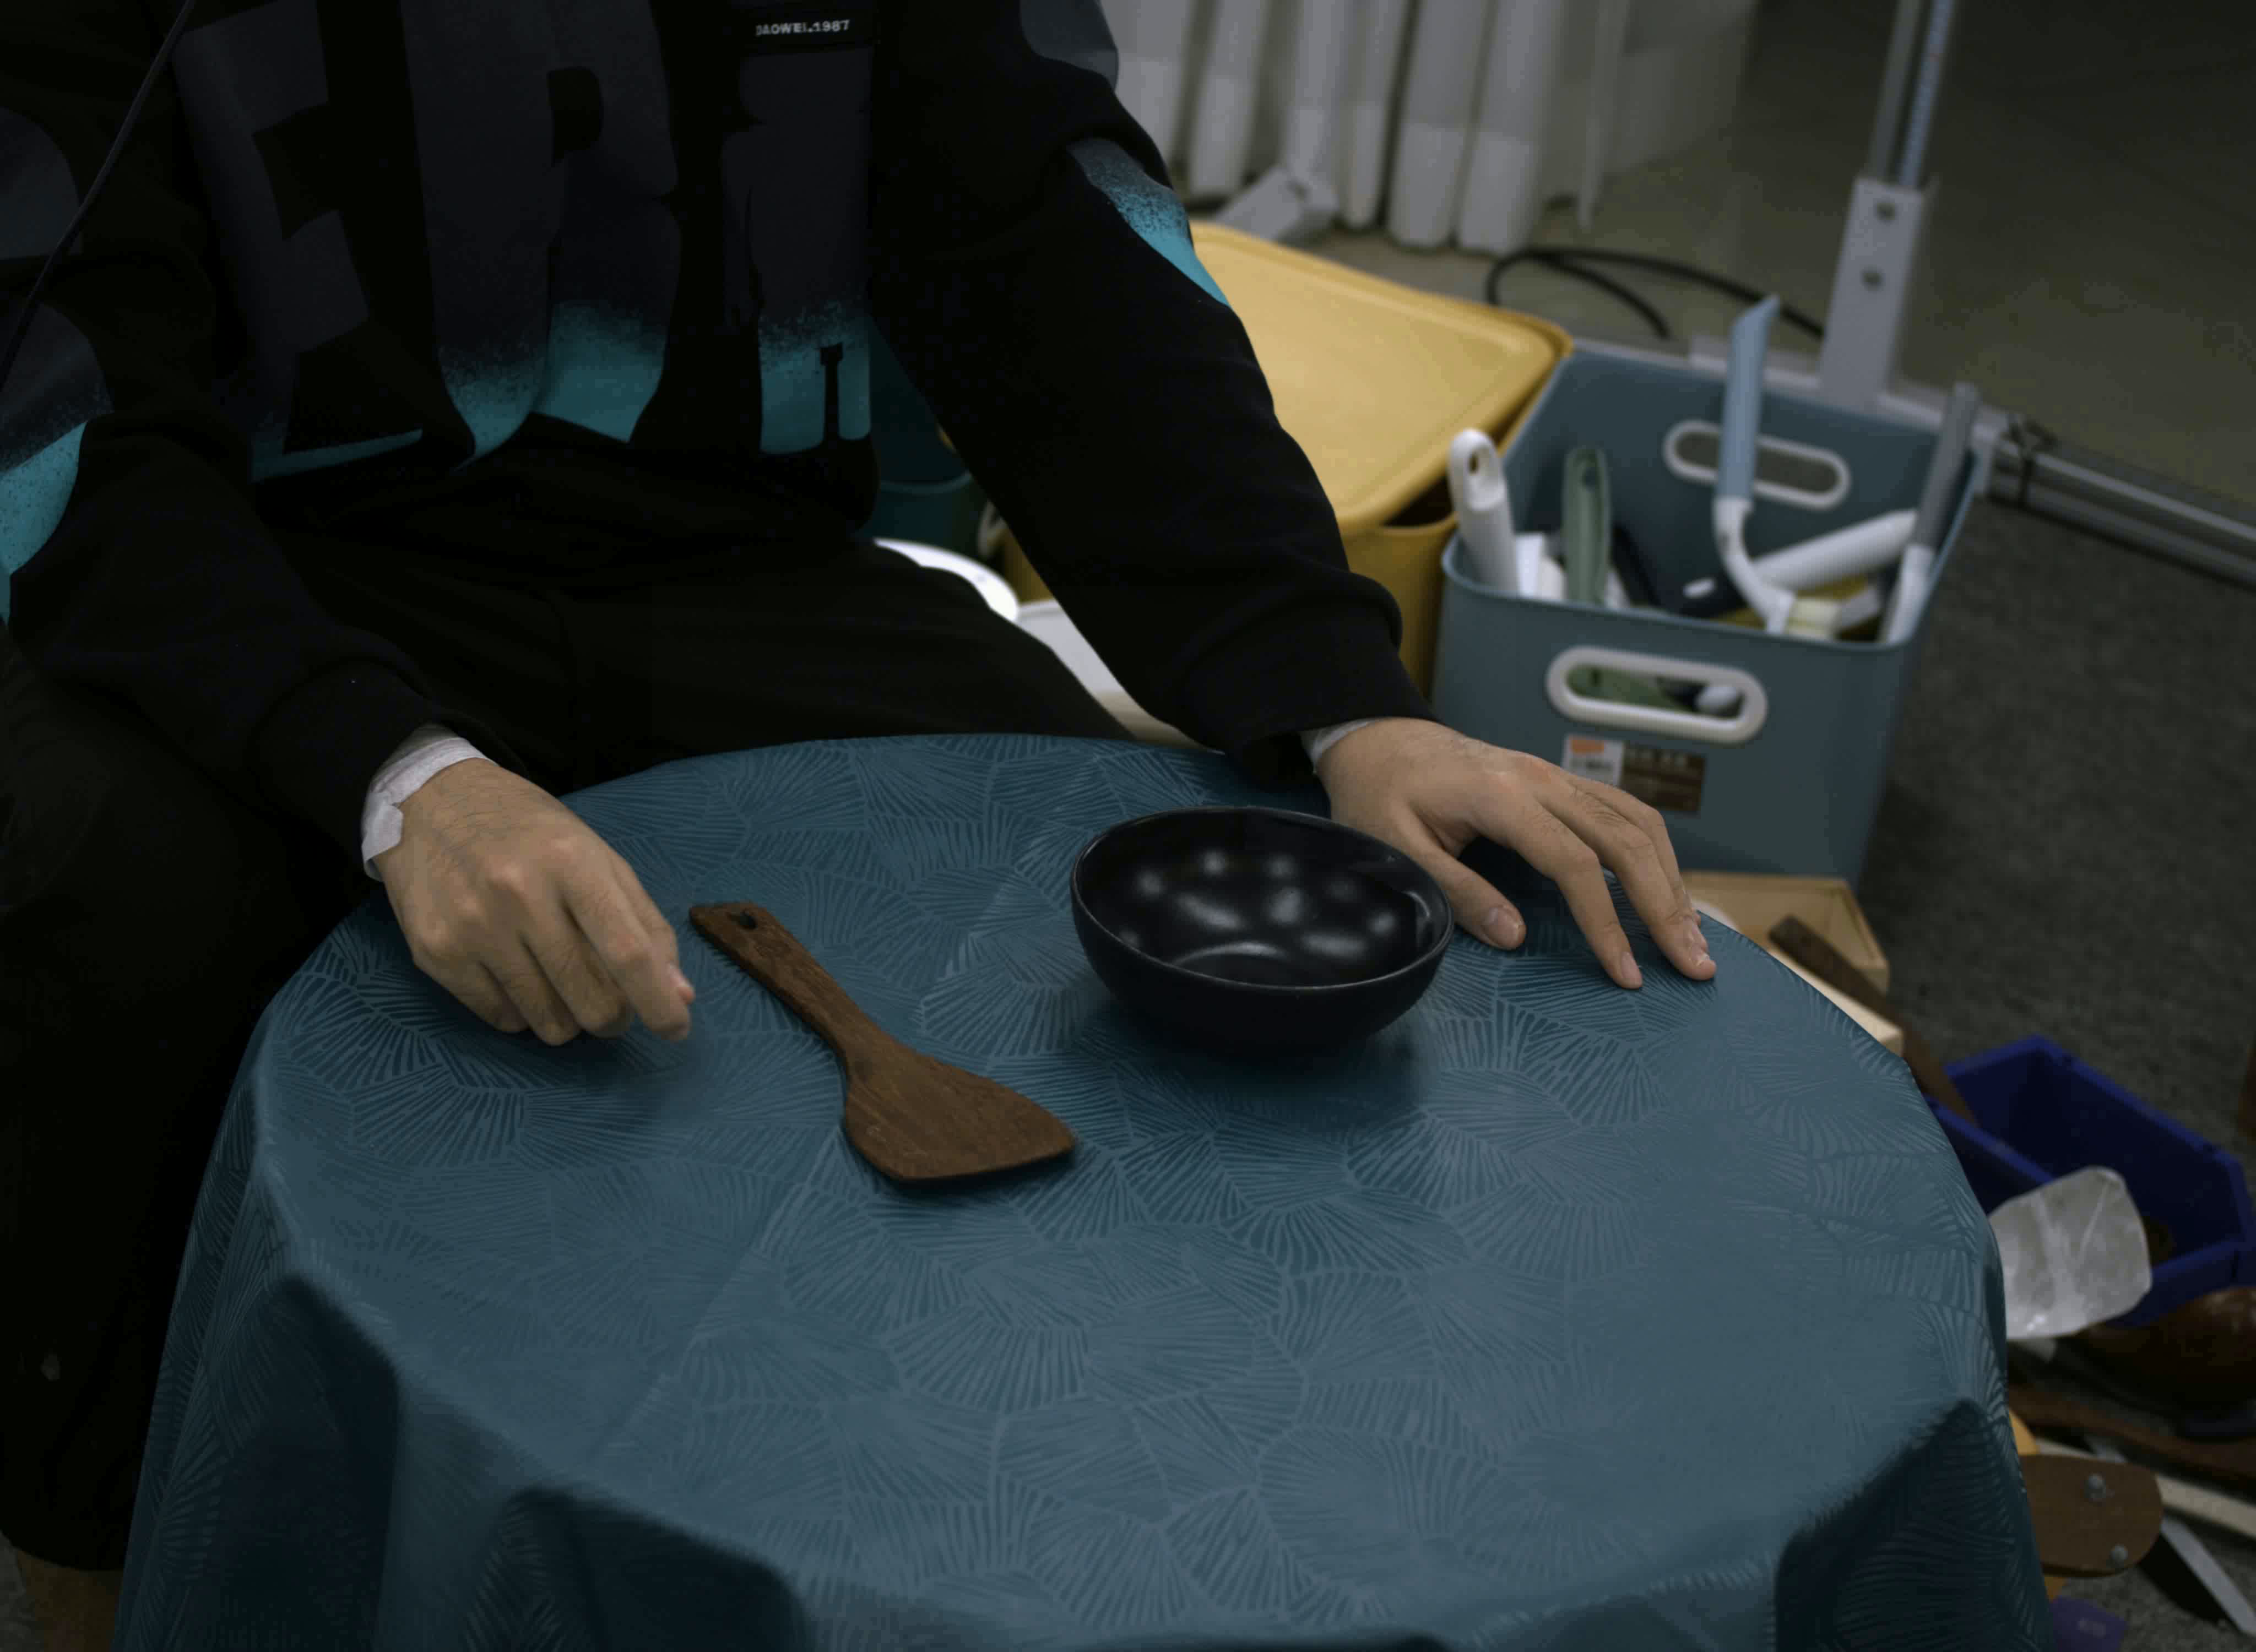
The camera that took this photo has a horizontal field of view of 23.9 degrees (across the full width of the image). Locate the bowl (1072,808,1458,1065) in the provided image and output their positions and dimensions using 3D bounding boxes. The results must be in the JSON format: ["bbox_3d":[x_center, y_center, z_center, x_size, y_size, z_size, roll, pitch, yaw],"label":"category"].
[{"bbox_3d":[0.048,0.047,1.911,0.139,0.049,0.141,3,27,-2],"label":"bowl"}]

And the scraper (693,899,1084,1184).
[{"bbox_3d":[-0.096,0.074,1.869,0.075,0.011,0.213,-10,30,-30],"label":"scraper"}]
